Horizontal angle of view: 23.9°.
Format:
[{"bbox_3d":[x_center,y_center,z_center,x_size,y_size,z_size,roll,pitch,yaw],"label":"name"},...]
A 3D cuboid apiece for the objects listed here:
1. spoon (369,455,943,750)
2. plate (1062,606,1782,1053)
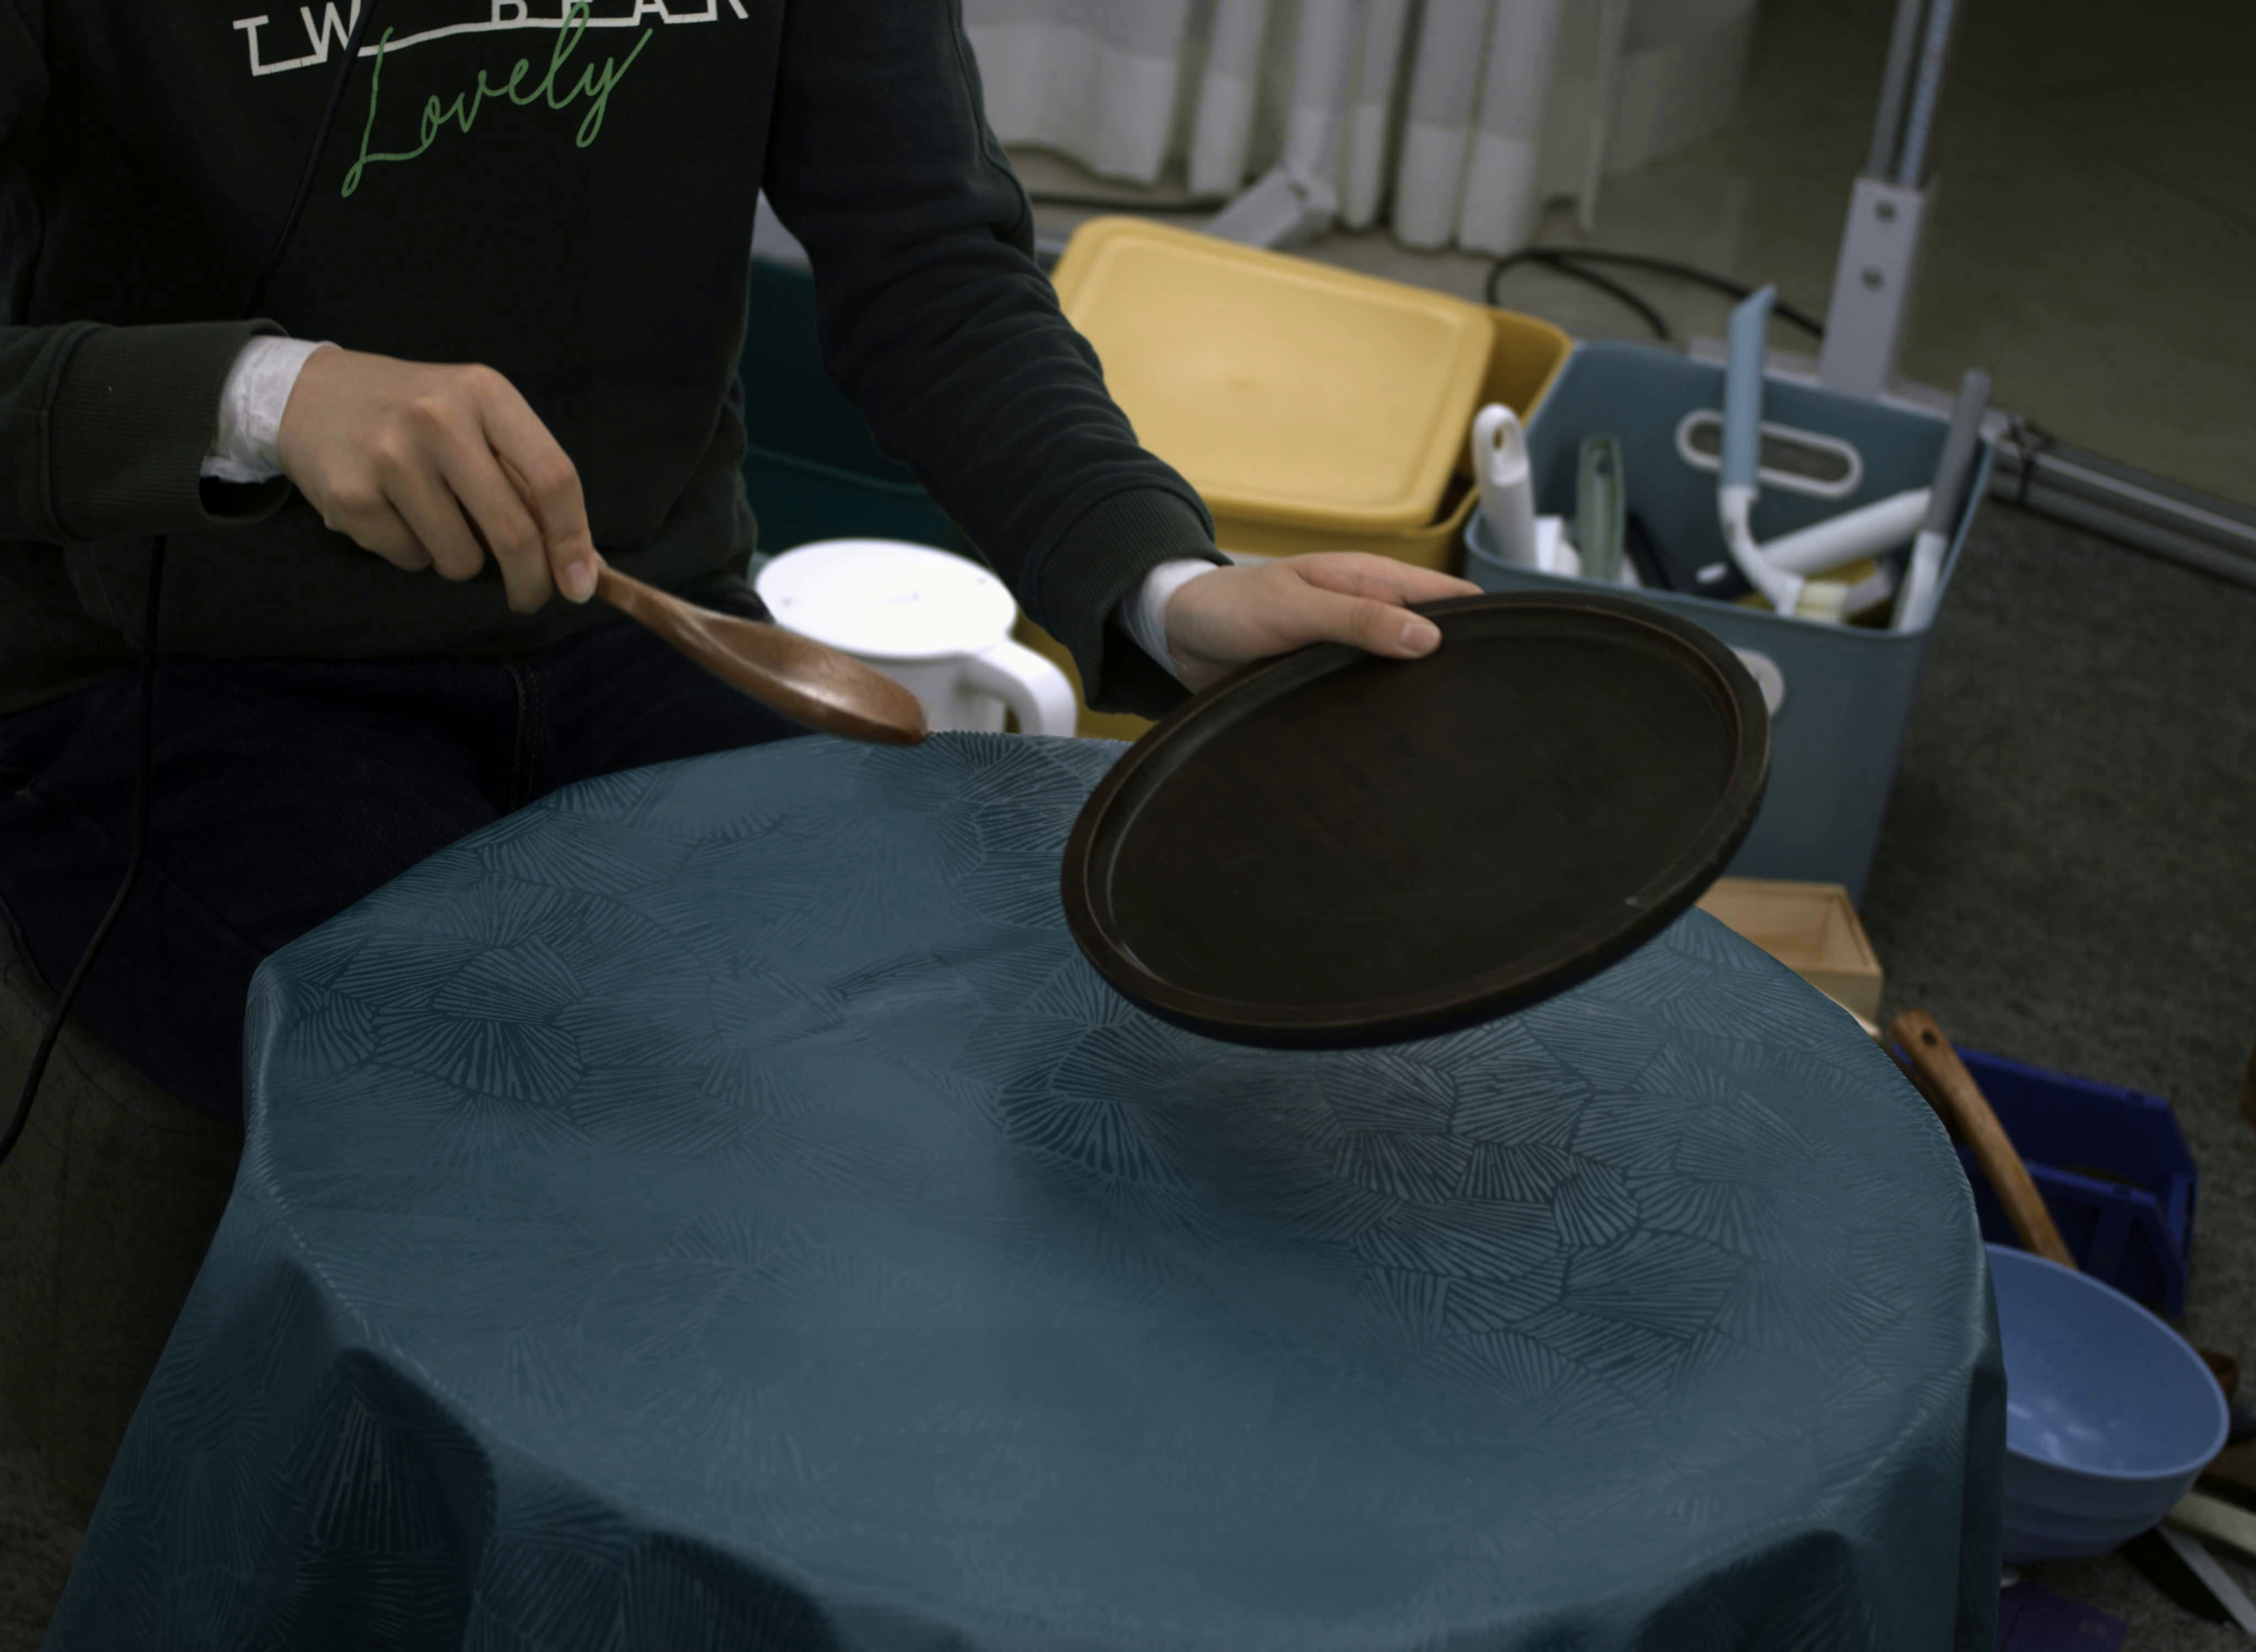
[{"bbox_3d":[-0.159,-0.072,1.771,0.216,0.017,0.075,27,16,13],"label":"spoon"},{"bbox_3d":[0.101,-0.001,1.833,0.254,0.029,0.256,-13,32,8],"label":"plate"}]
